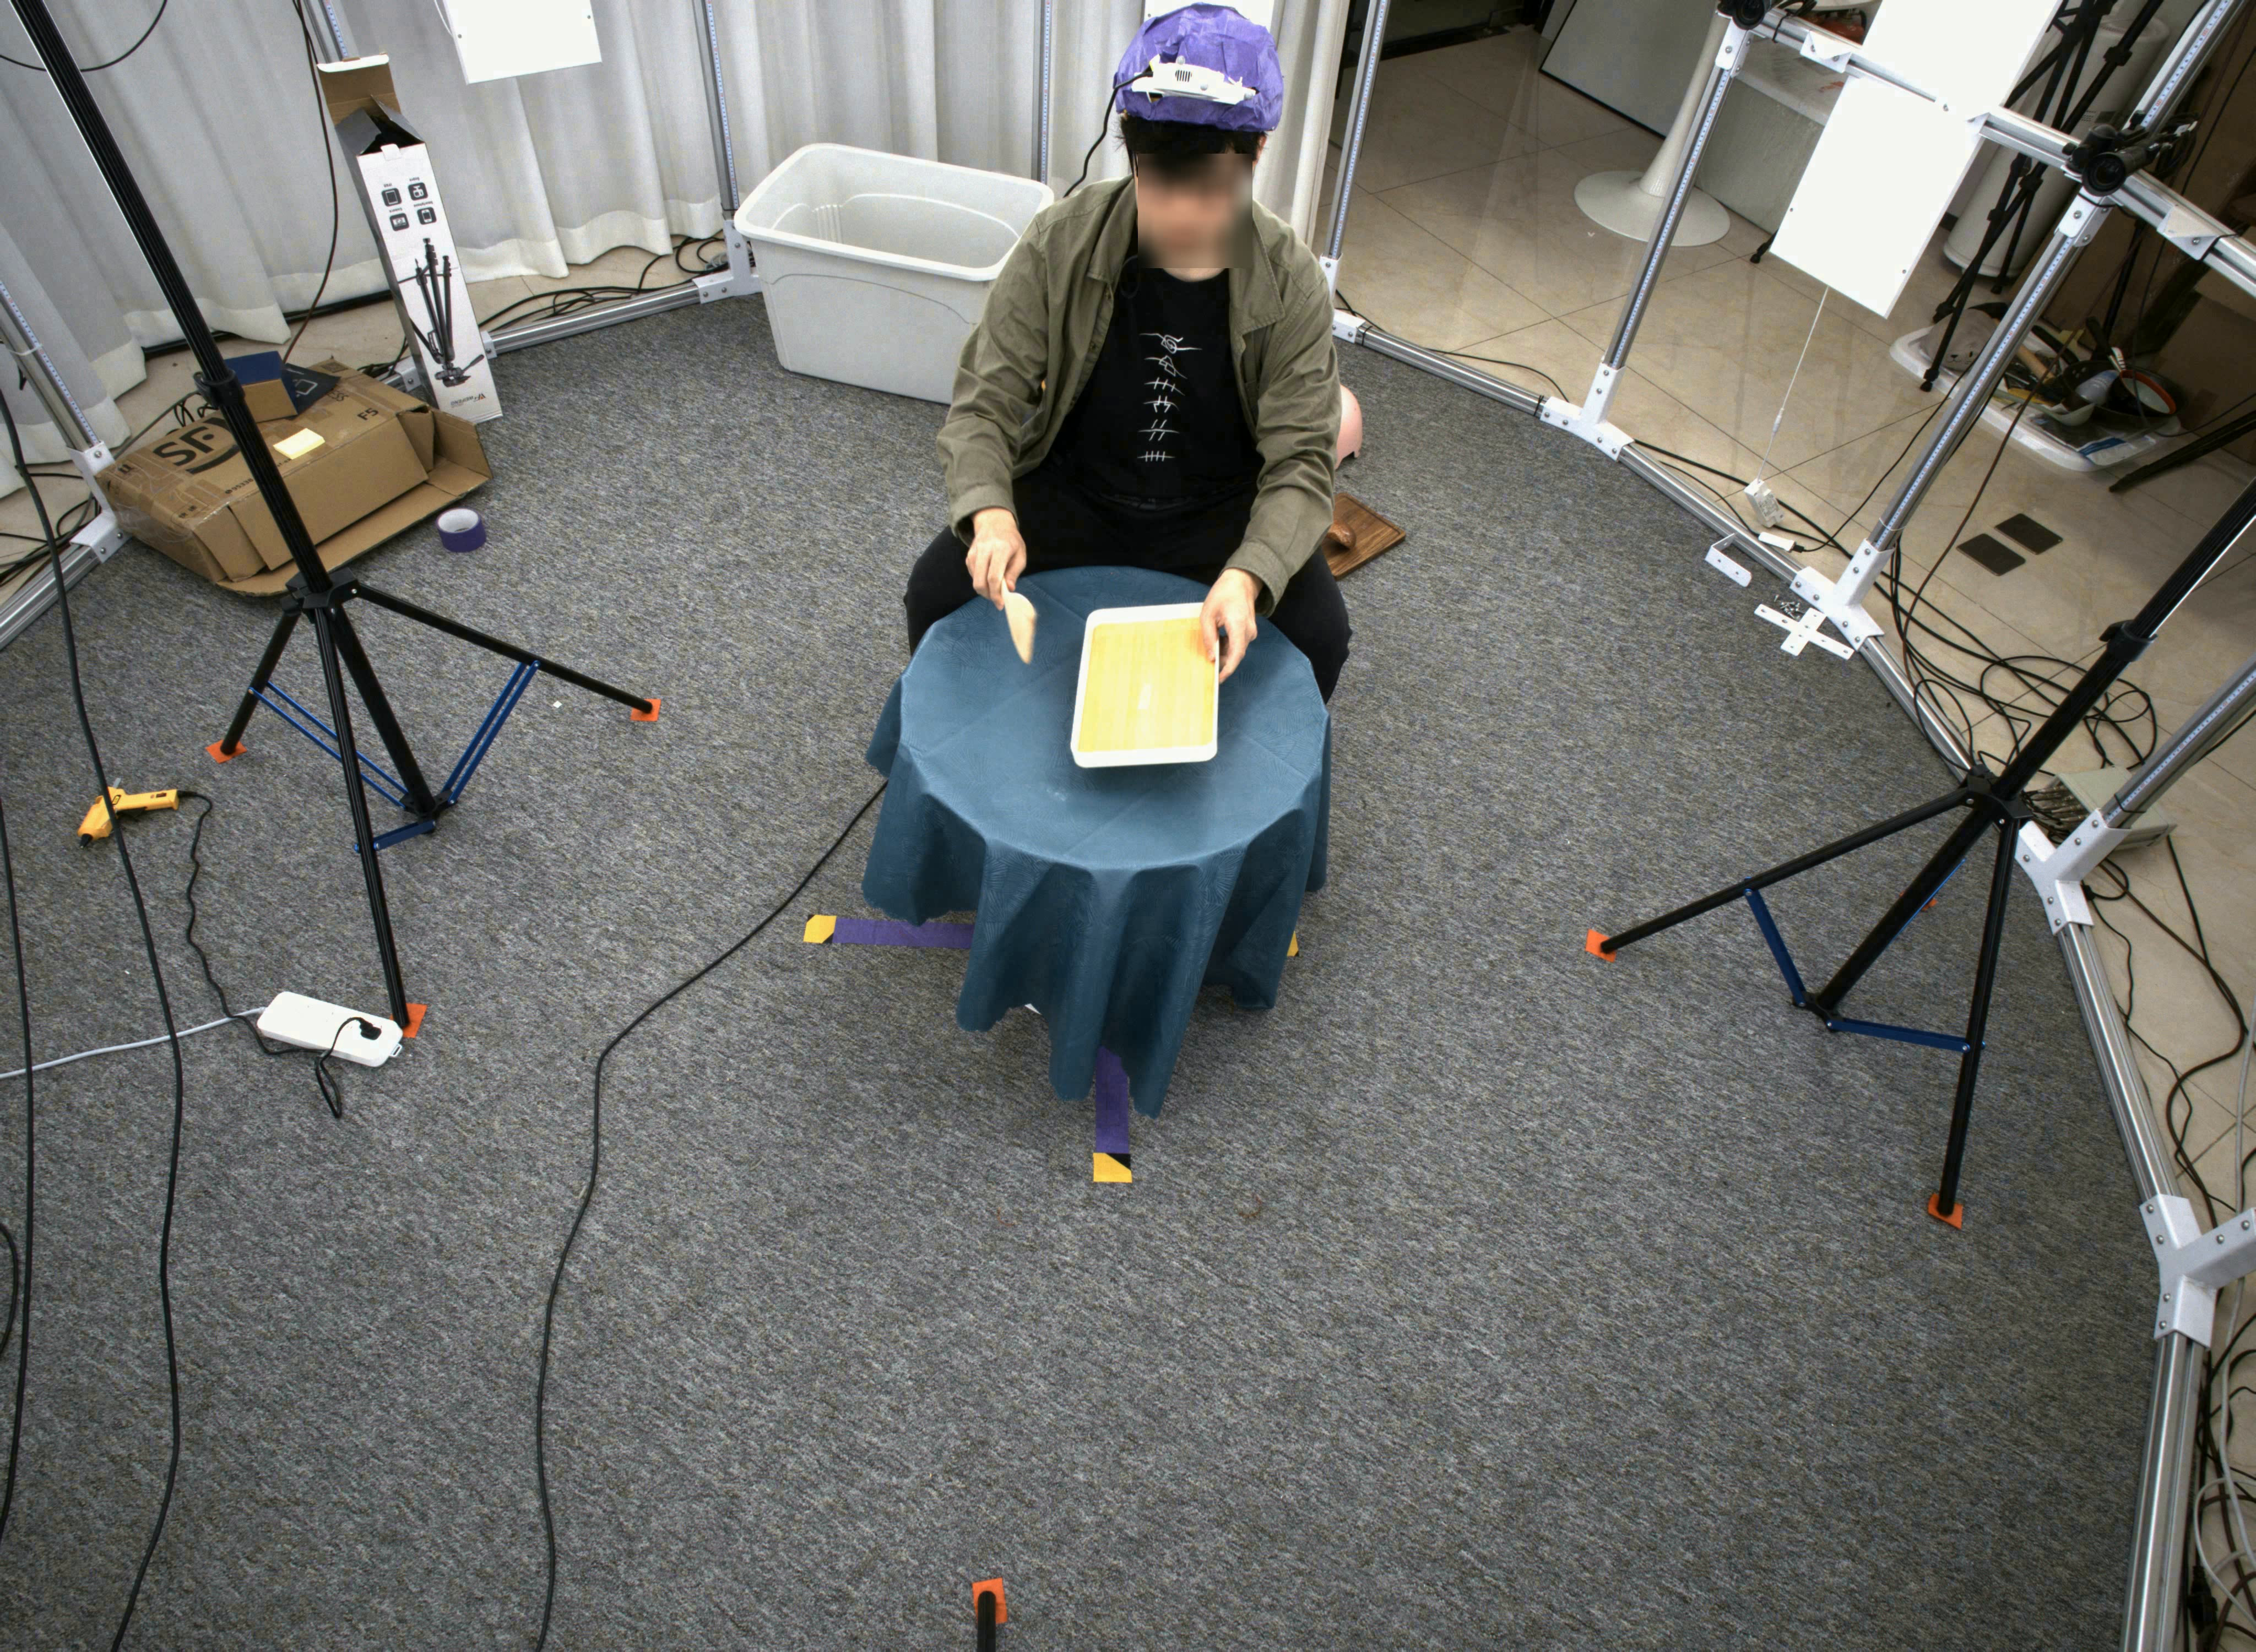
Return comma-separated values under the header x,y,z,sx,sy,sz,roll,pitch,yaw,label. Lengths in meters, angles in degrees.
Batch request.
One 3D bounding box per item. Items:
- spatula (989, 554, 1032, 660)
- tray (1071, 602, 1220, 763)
x,y,z,sx,sy,sz,roll,pitch,yaw,label
-0.157,-0.303,1.686,0.016,0.078,0.334,-1,26,-12,spatula
0.029,-0.201,1.749,0.191,0.027,0.308,-2,45,8,tray
